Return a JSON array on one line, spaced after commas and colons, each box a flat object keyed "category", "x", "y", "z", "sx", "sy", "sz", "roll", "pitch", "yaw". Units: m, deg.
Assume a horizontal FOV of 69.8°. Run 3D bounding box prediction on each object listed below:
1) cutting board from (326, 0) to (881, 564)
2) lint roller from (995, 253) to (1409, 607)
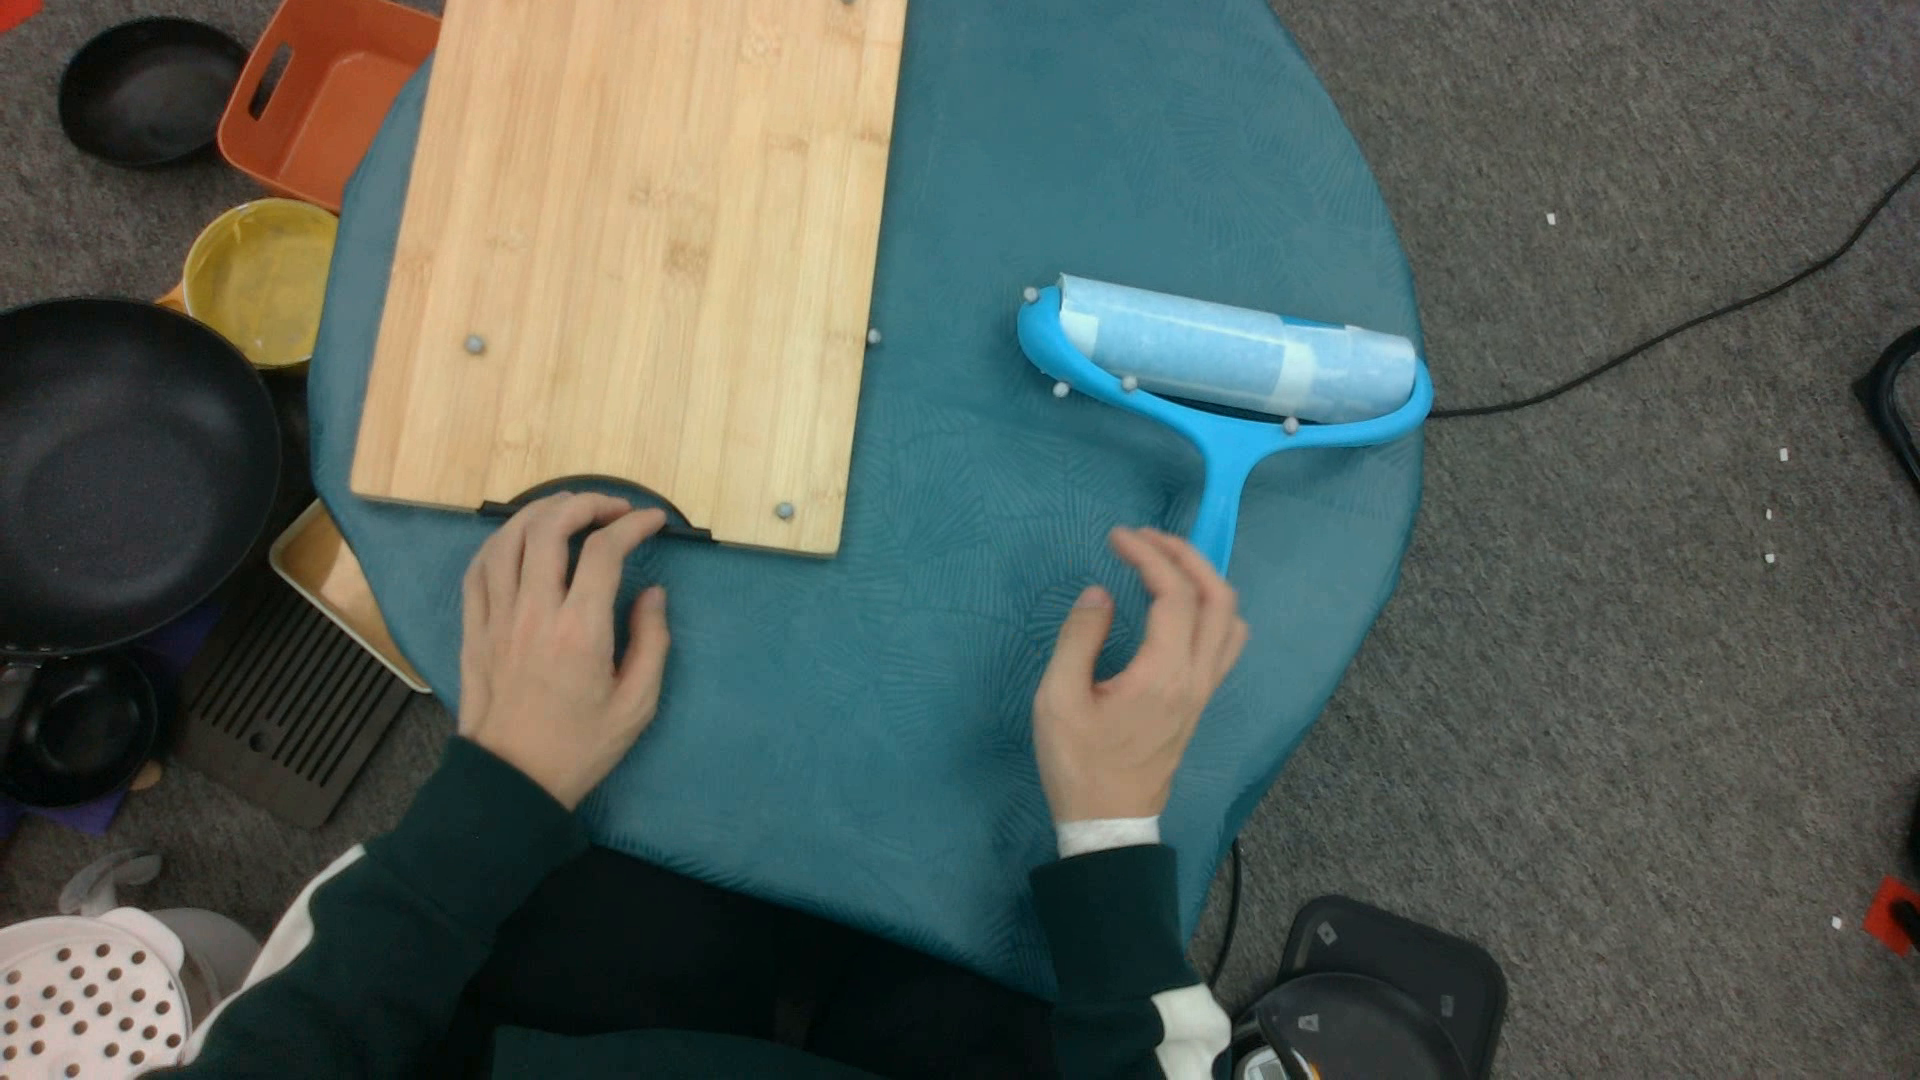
[{"category": "cutting board", "x": -0.177, "y": -0.169, "z": 0.729, "sx": 0.251, "sy": 0.023, "sz": 0.349, "roll": 5, "pitch": 79, "yaw": -8}, {"category": "lint roller", "x": 0.129, "y": -0.057, "z": 0.733, "sx": 0.229, "sy": 0.068, "sz": 0.180, "roll": 5, "pitch": 78, "yaw": -9}]
